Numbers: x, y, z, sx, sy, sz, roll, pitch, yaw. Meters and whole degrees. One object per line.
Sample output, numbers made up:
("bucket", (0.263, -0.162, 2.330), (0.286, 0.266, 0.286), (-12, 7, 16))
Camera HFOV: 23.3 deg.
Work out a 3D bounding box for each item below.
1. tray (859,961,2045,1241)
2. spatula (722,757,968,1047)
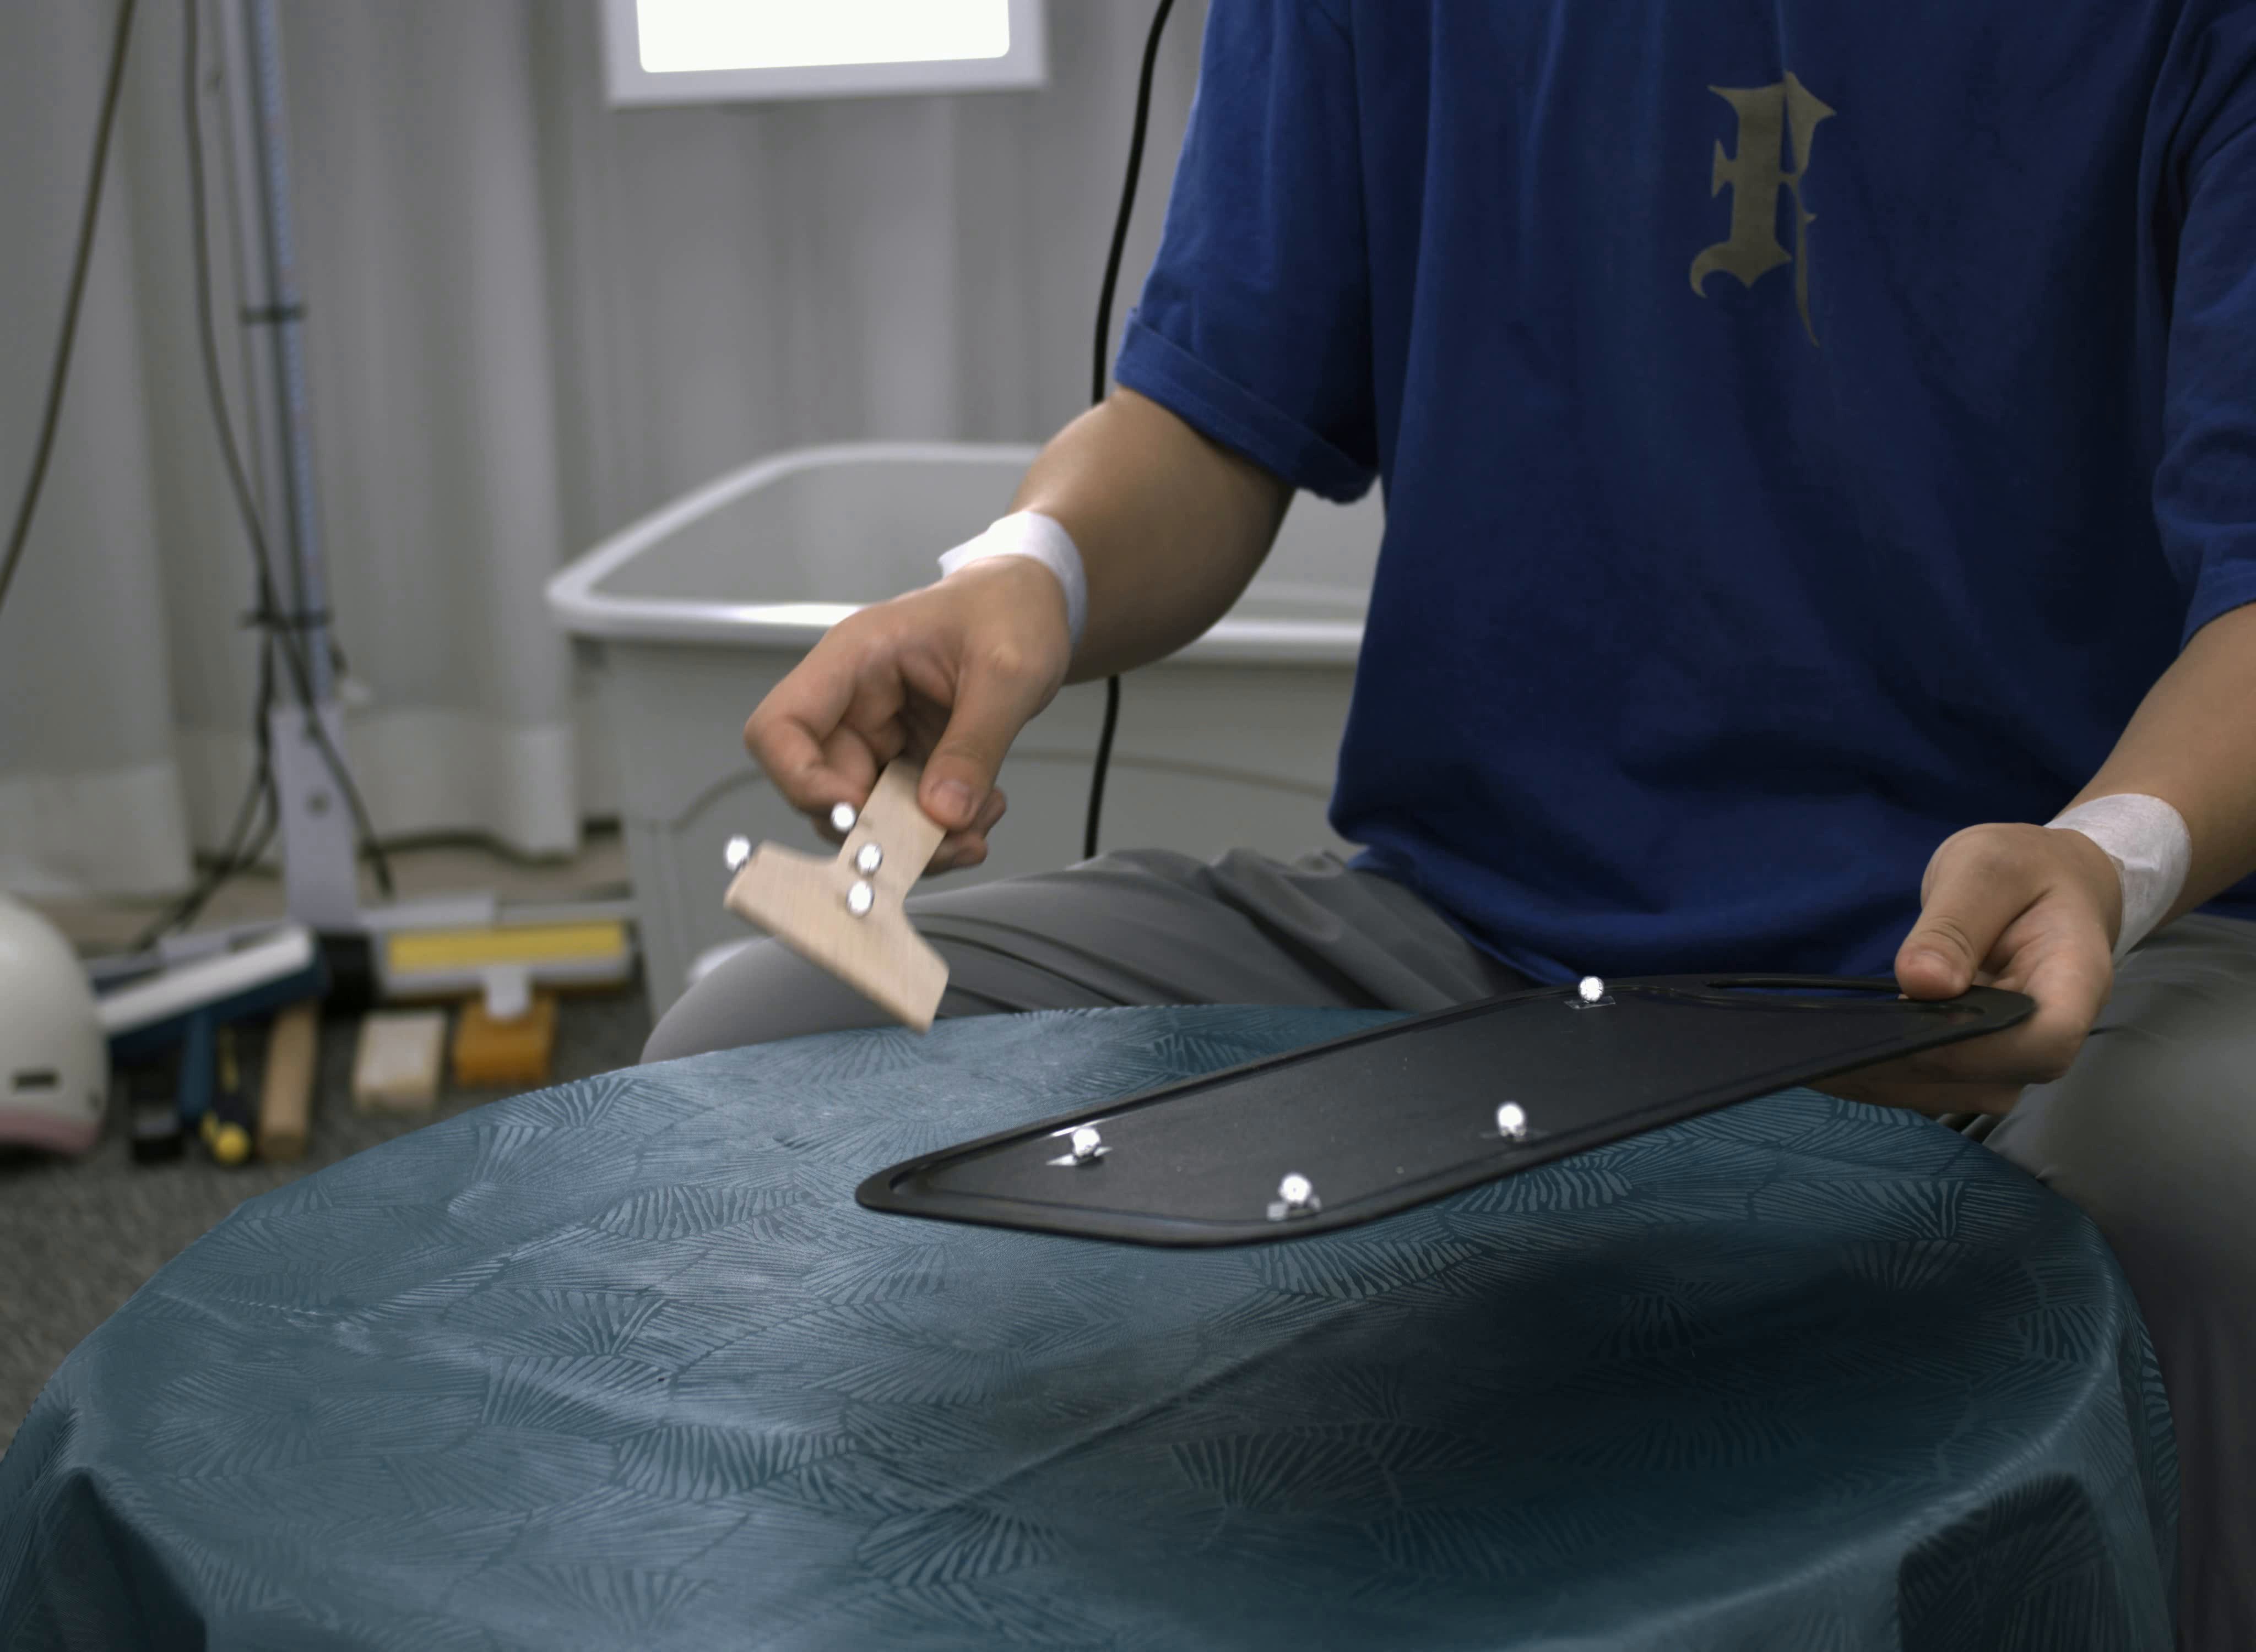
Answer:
("tray", (0.097, 0.071, 1.522), (0.324, 0.010, 0.212), (-13, 9, -35))
("spatula", (-0.078, 0.014, 1.702), (0.072, 0.010, 0.294), (33, 13, -3))
